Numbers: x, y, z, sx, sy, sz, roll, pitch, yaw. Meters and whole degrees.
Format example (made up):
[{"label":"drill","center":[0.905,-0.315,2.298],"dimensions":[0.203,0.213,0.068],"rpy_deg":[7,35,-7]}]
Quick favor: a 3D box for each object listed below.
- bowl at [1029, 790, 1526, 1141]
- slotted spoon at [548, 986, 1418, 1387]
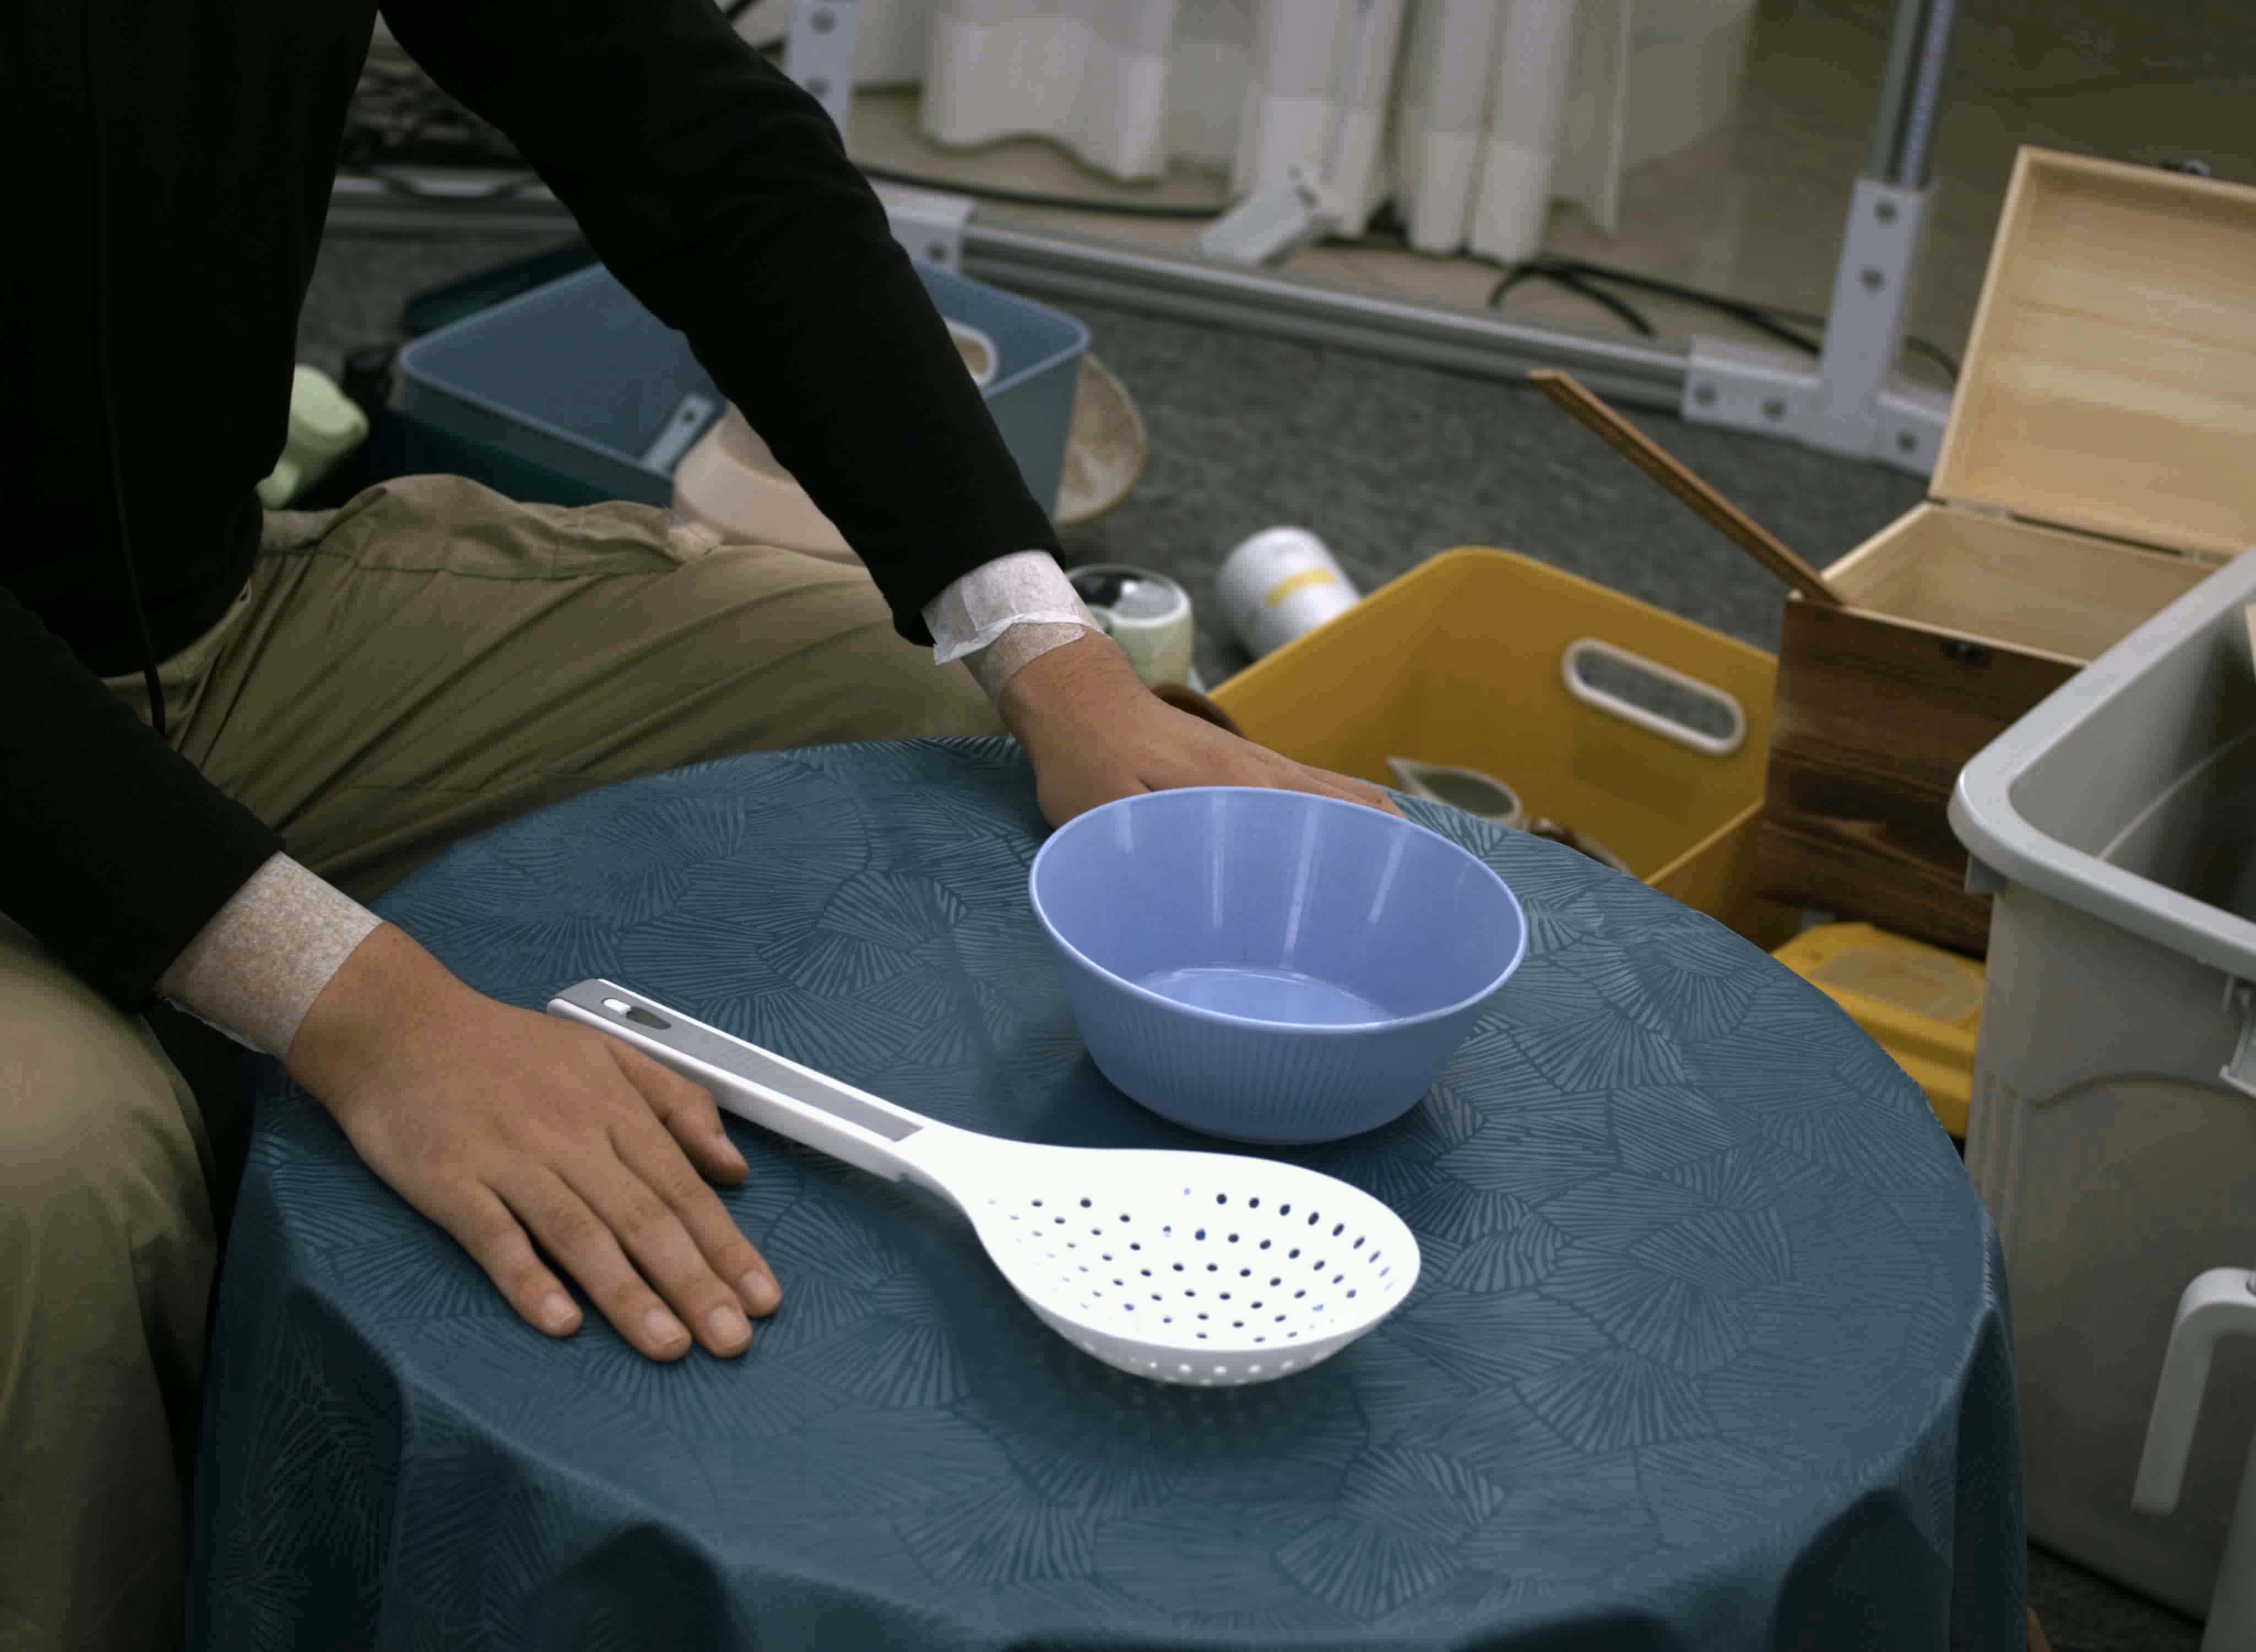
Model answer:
[{"label":"bowl","center":[0.049,0.054,1.871],"dimensions":[0.175,0.070,0.177],"rpy_deg":[5,26,-3]},{"label":"slotted spoon","center":[-0.060,0.112,1.761],"dimensions":[0.352,0.045,0.135],"rpy_deg":[24,31,32]}]
